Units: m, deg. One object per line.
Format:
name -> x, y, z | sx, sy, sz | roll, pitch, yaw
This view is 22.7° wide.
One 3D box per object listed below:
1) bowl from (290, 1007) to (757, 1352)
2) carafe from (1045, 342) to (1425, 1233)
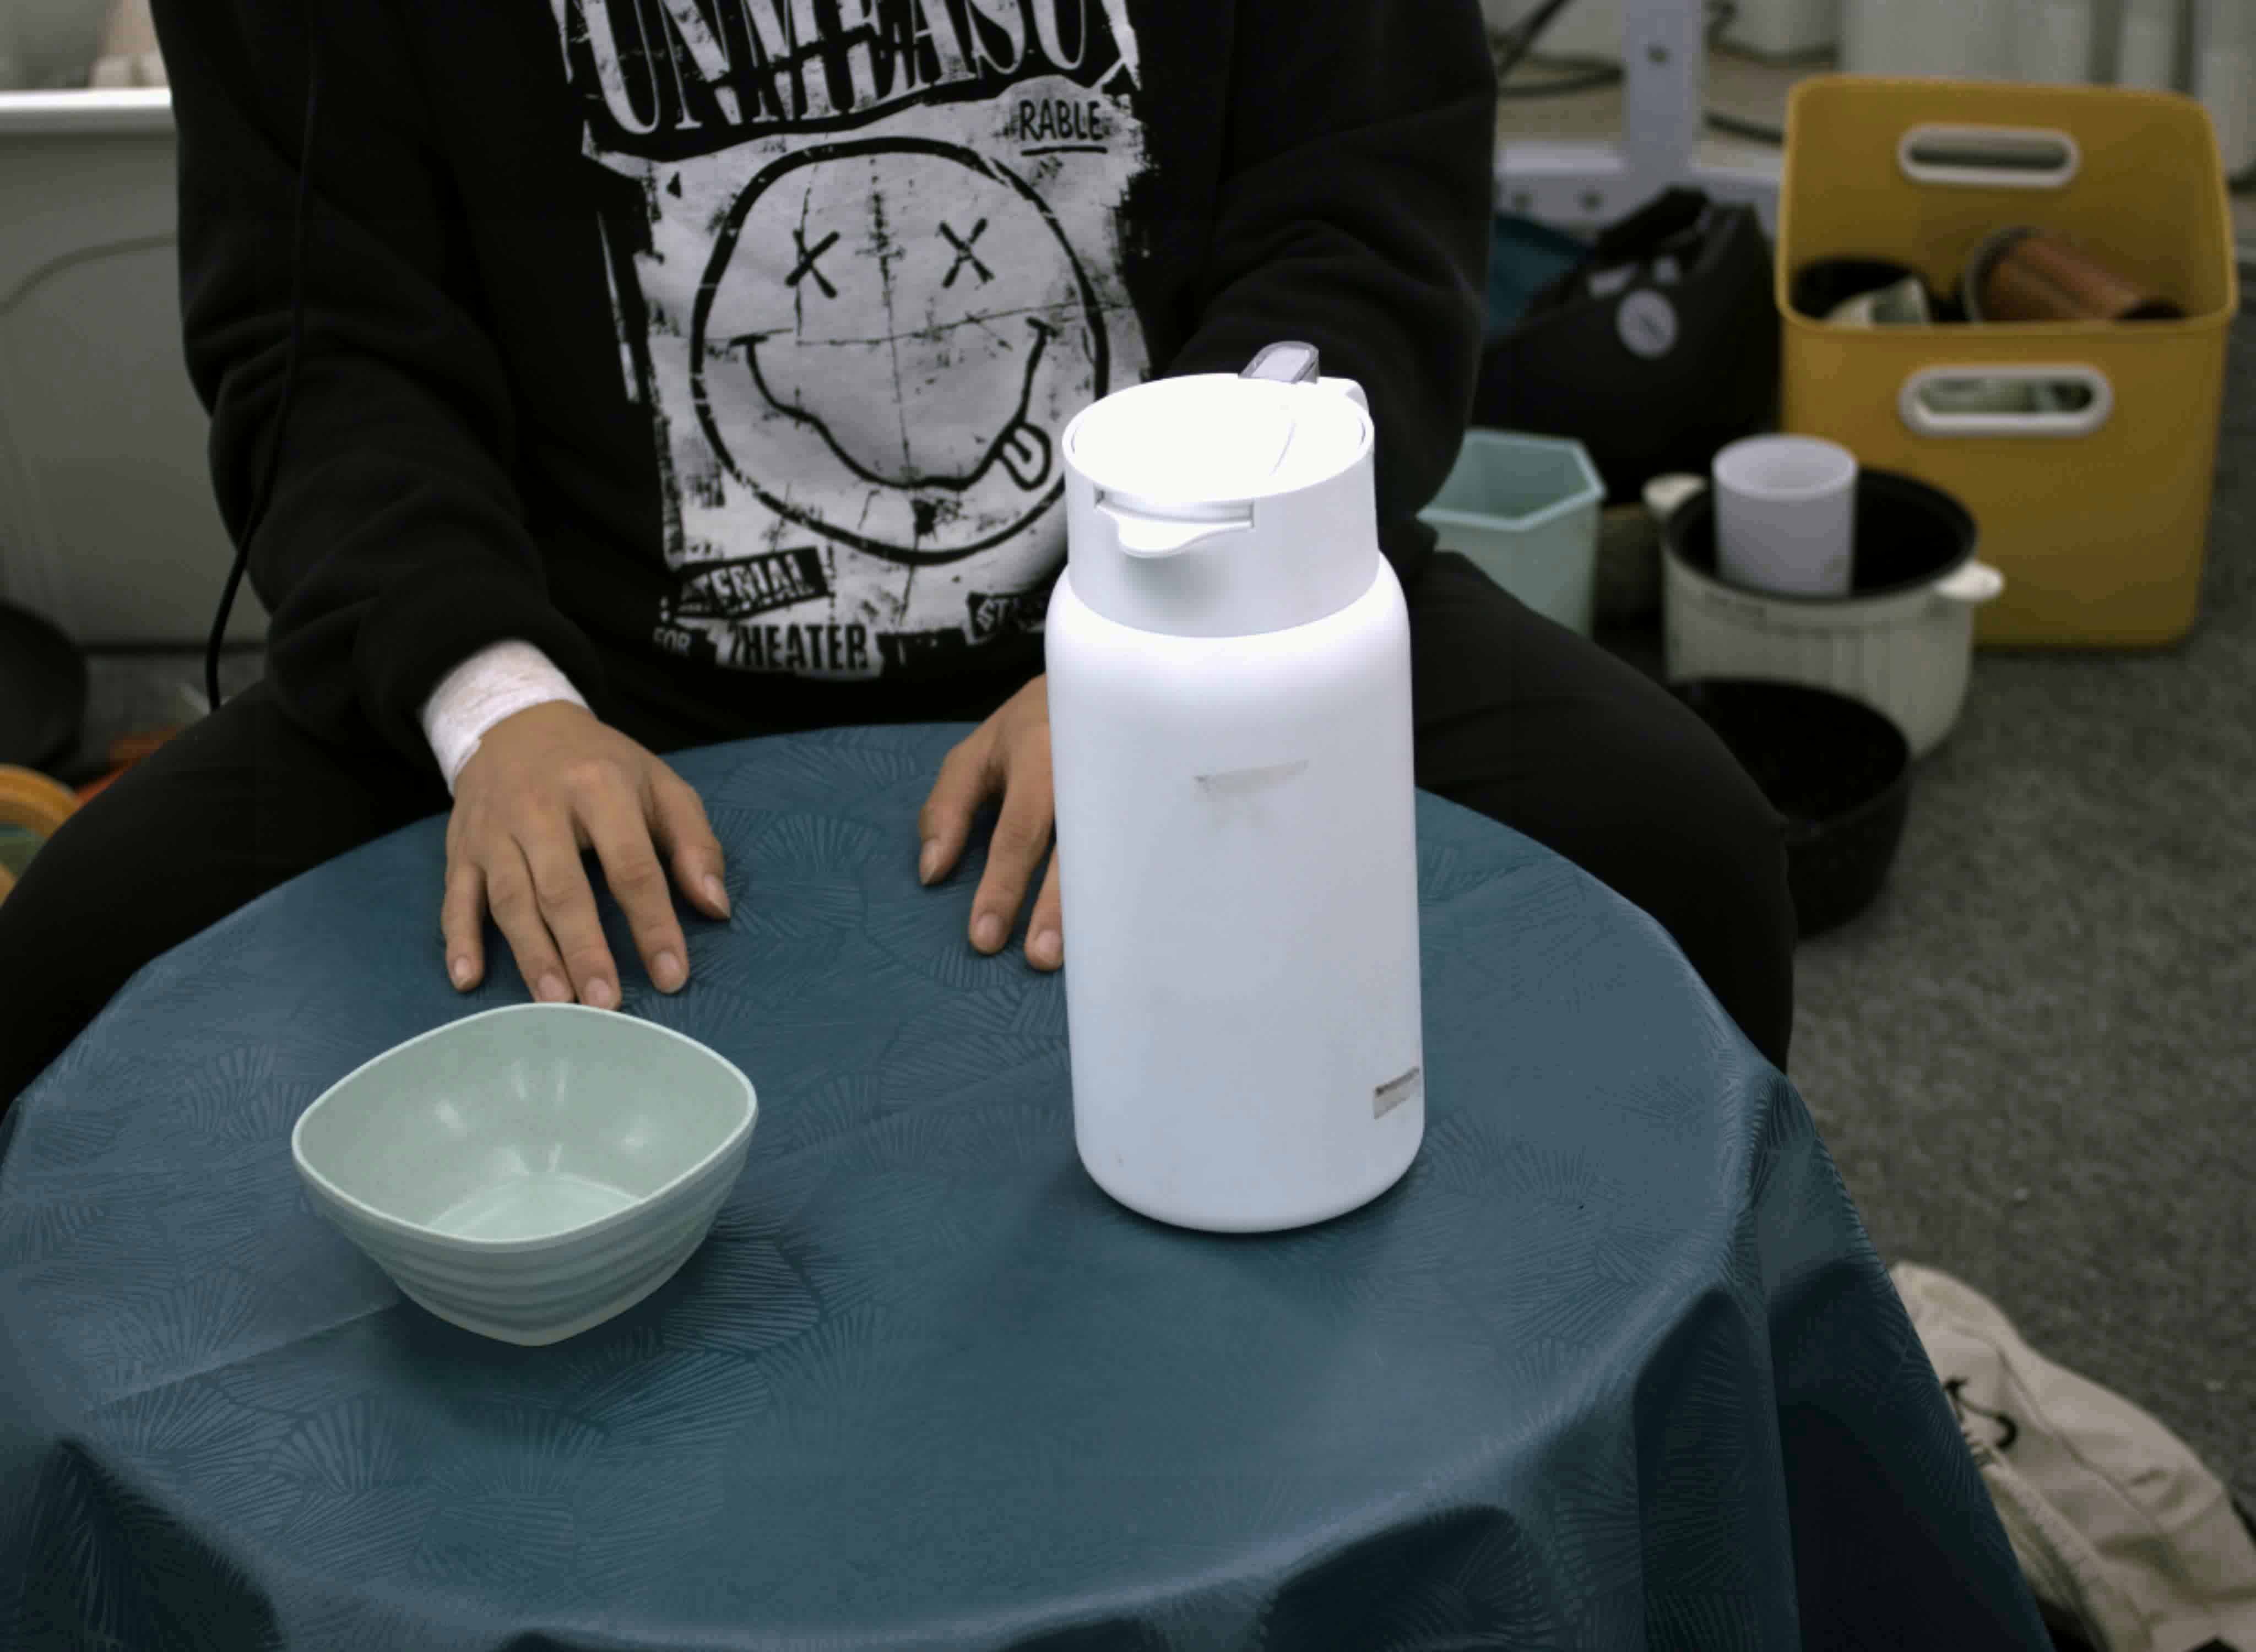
bowl -> -0.194, 0.121, 1.822 | 0.151, 0.058, 0.154 | -2, 27, 1
carafe -> 0.039, -0.016, 1.835 | 0.123, 0.266, 0.176 | 4, 27, 19
